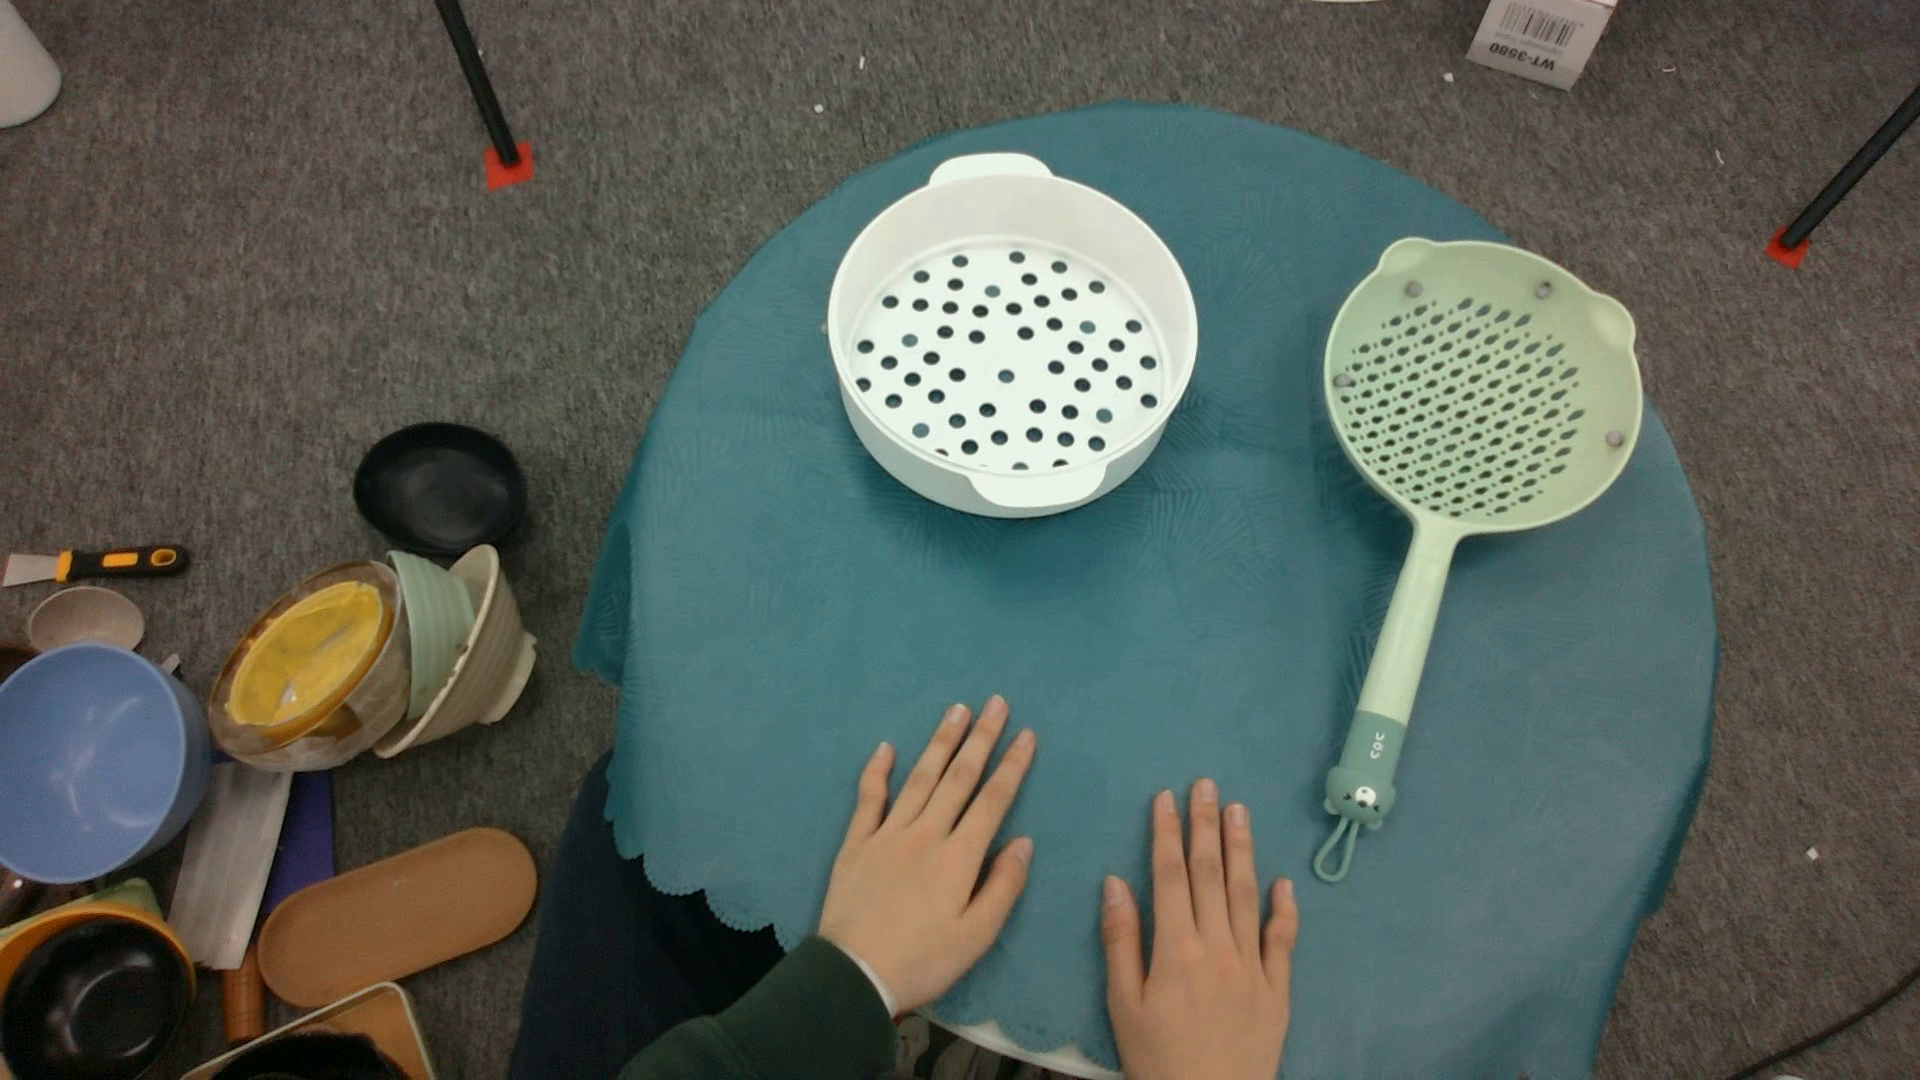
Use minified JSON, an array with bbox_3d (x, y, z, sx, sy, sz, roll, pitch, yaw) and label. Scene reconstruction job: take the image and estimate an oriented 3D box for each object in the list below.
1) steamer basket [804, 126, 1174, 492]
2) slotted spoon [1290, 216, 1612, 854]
[{"bbox_3d":[0.015,-0.123,0.773,0.202,0.069,0.231,-7,66,-6],"label":"steamer basket"},{"bbox_3d":[0.237,-0.008,0.733,0.169,0.075,0.360,19,65,6],"label":"slotted spoon"}]
